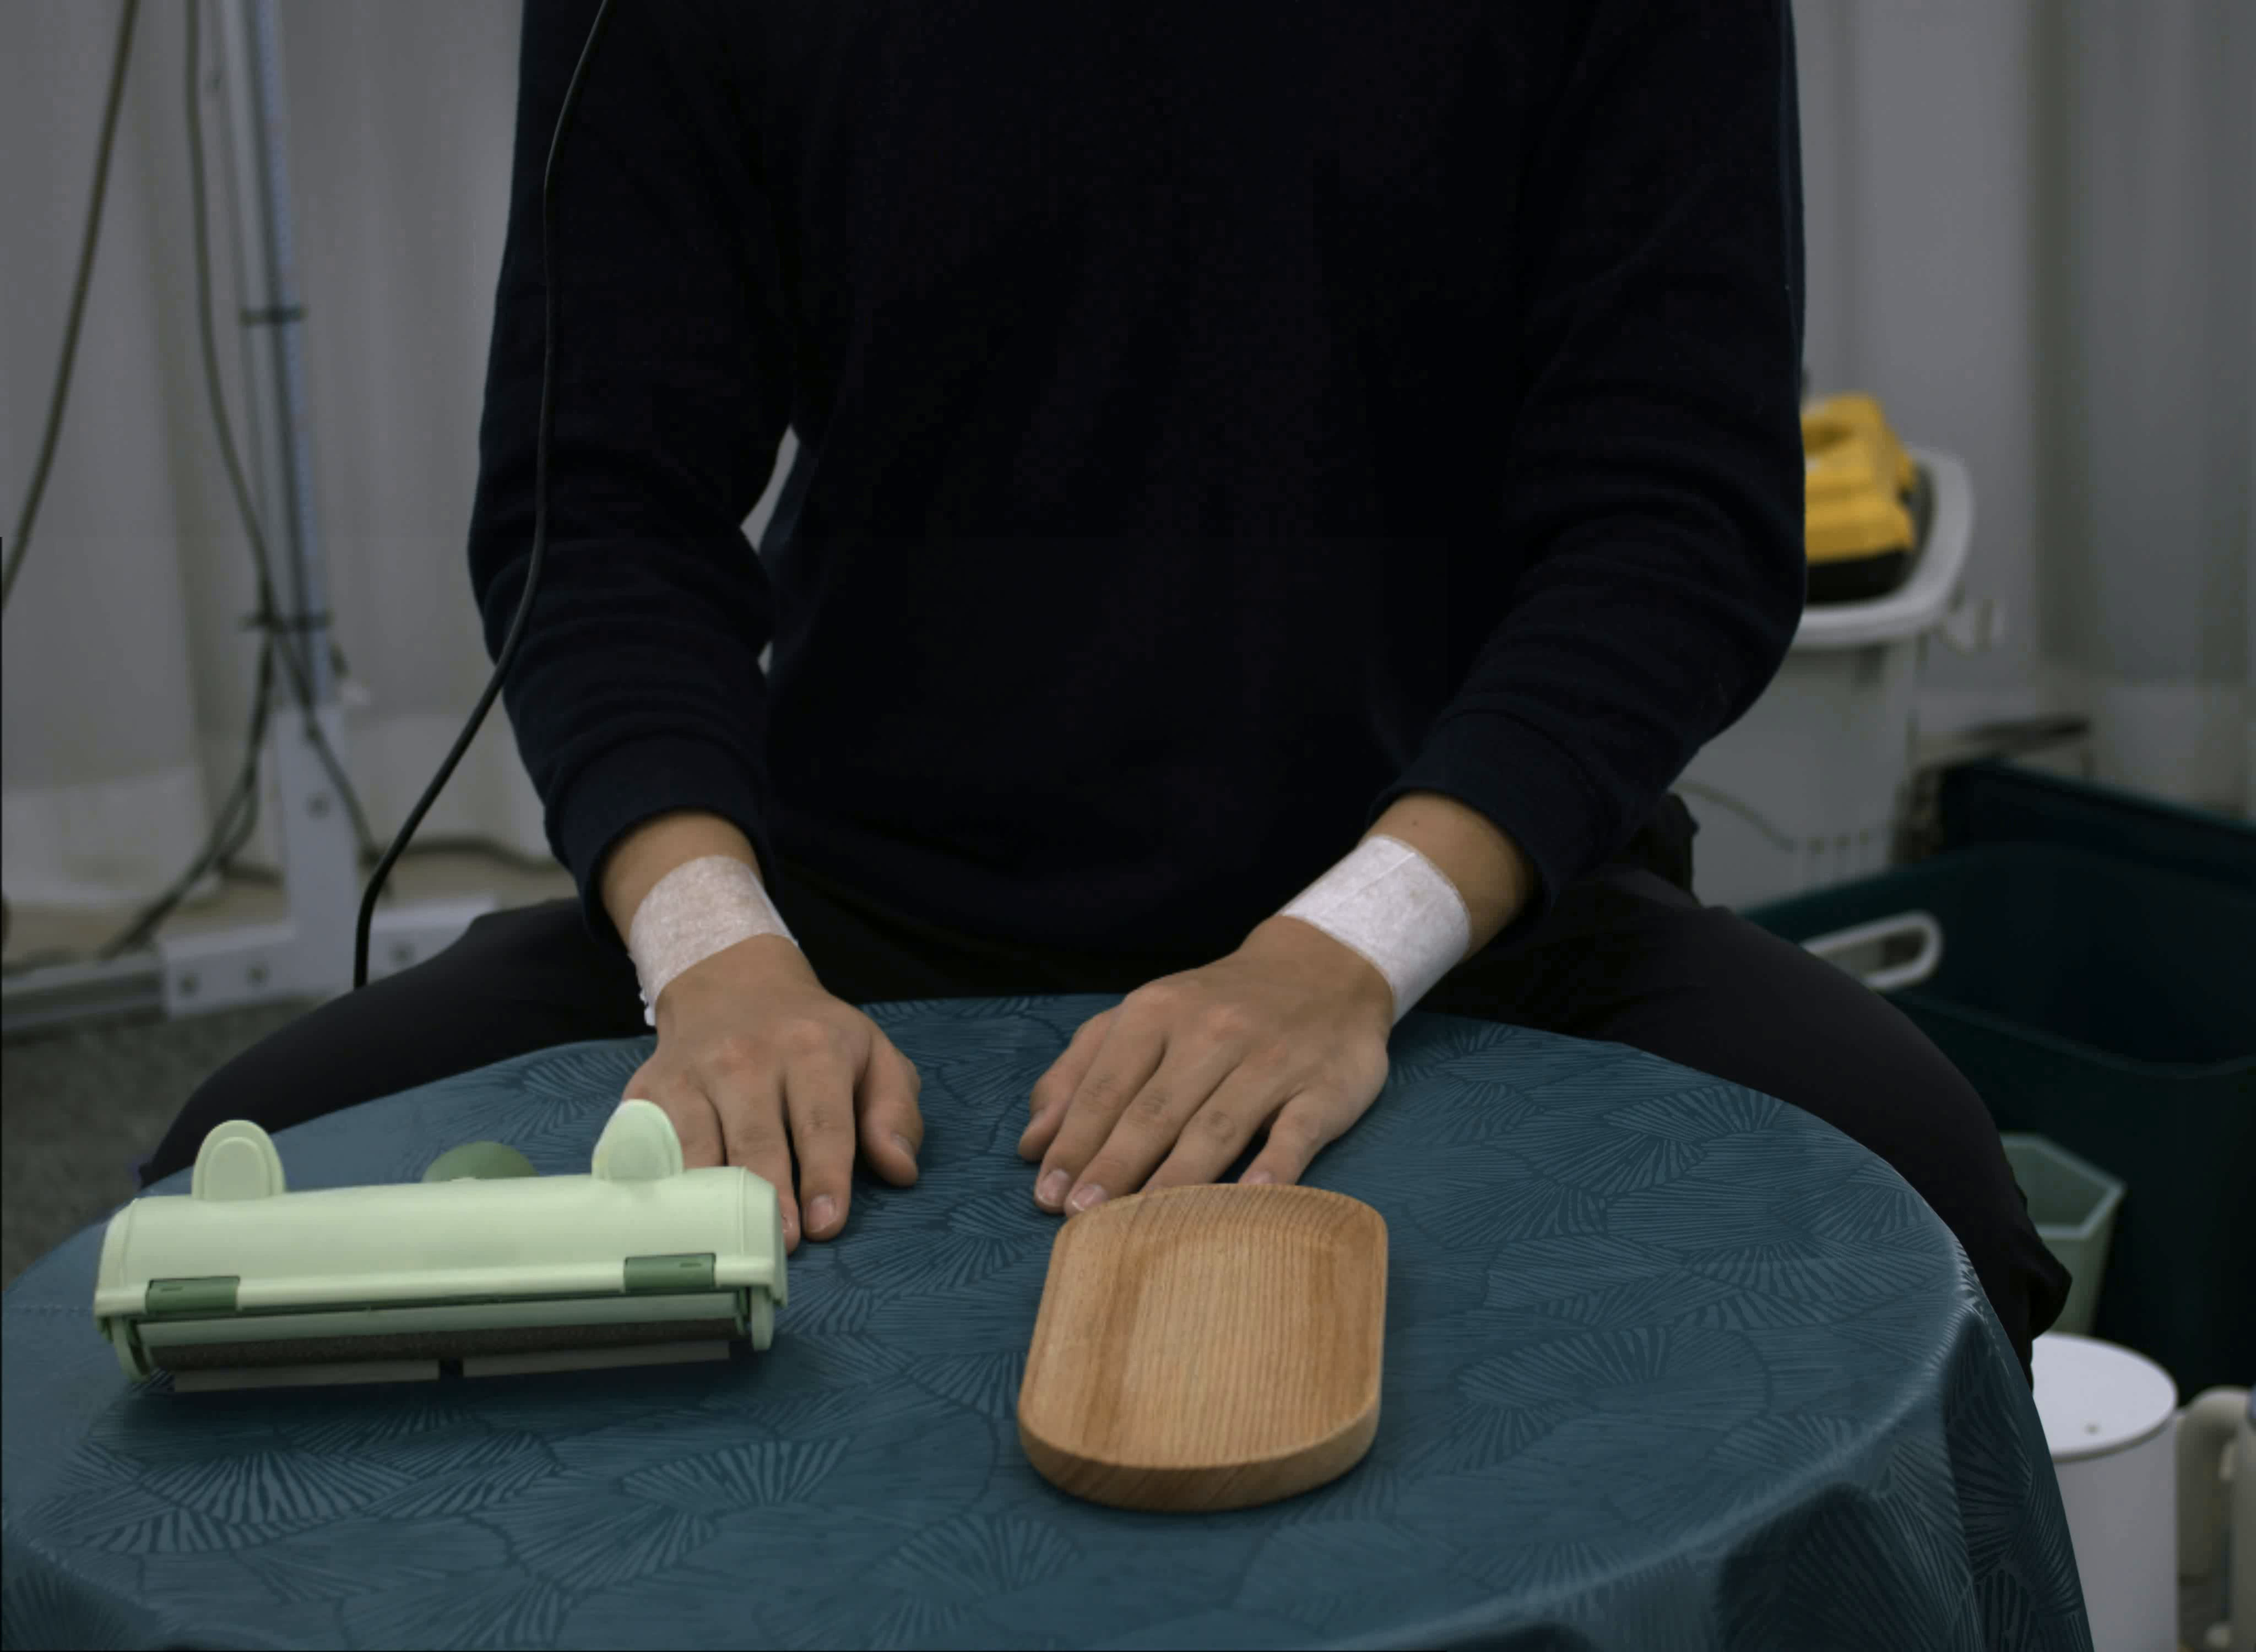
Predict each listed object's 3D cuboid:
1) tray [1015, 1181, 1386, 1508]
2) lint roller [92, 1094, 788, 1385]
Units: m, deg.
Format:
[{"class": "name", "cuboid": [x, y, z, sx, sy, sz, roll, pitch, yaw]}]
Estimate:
[{"class": "tray", "cuboid": [0.023, 0.146, 1.564, 0.101, 0.020, 0.232, -1, 14, 4]}, {"class": "lint roller", "cuboid": [-0.200, 0.103, 1.633, 0.198, 0.081, 0.185, -3, 20, -1]}]
